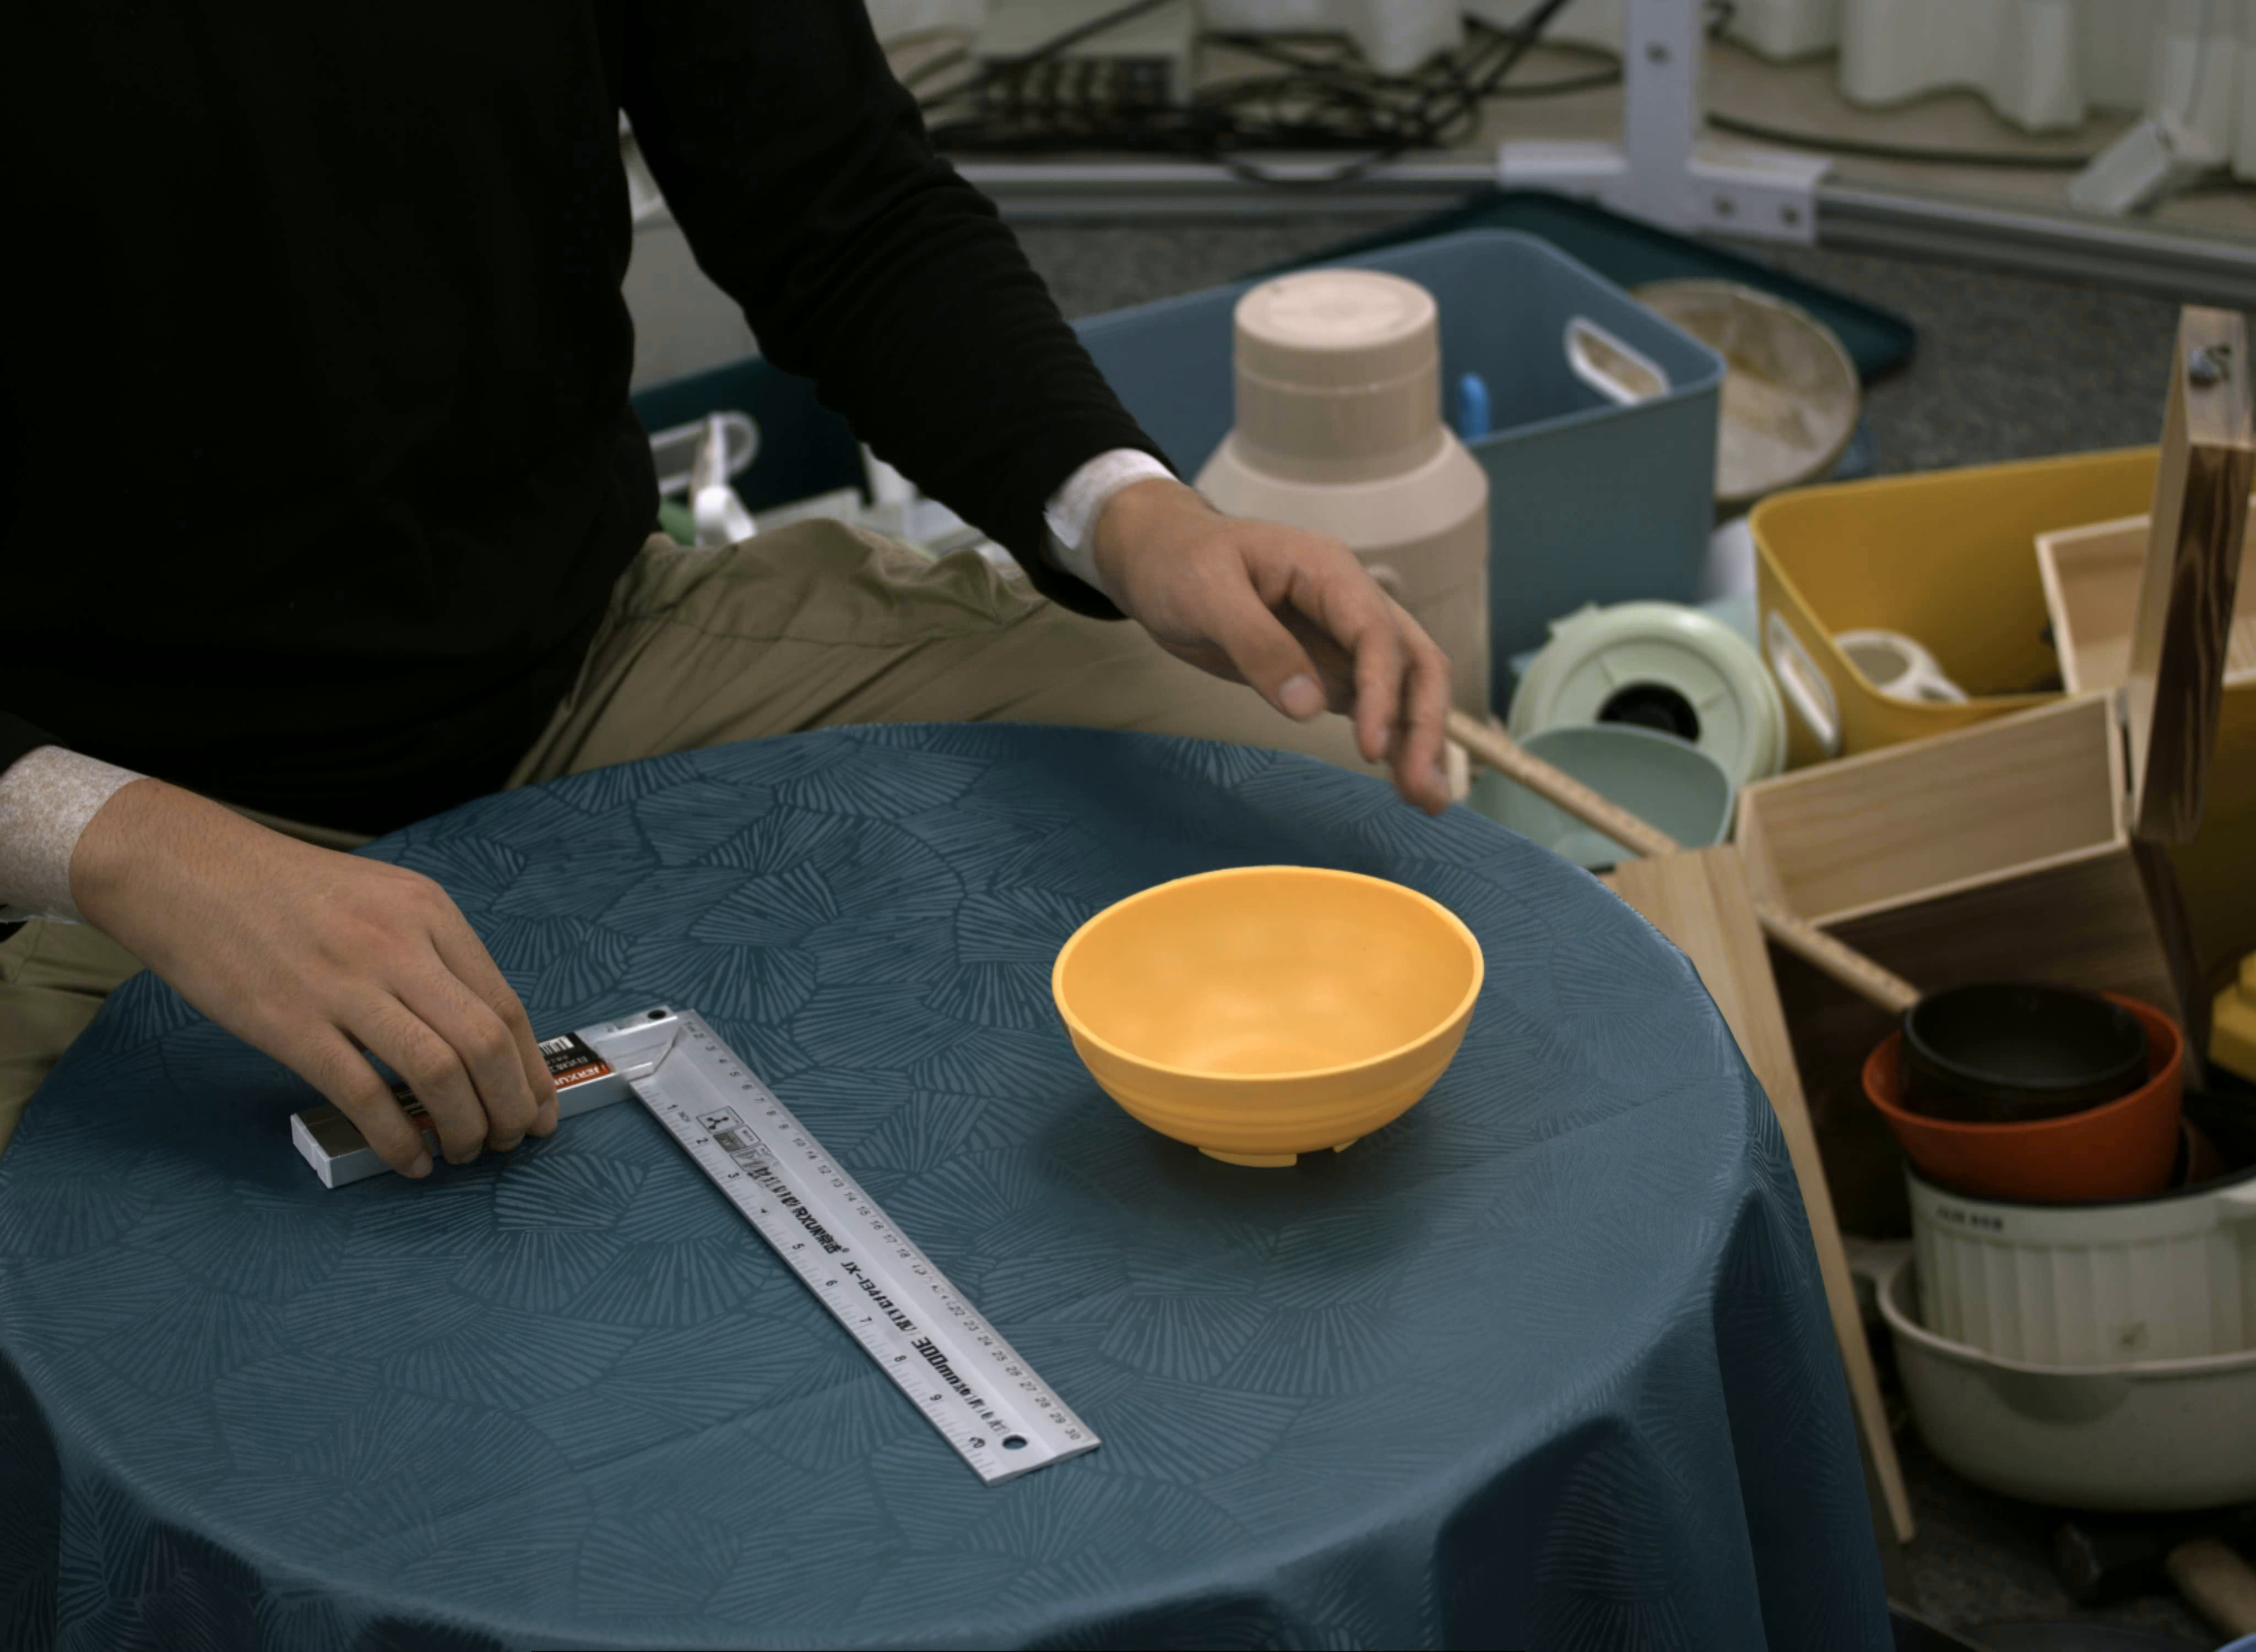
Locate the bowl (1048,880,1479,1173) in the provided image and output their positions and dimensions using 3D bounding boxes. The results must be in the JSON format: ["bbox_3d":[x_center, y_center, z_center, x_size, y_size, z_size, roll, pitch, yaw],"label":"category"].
[{"bbox_3d":[0.046,0.075,1.887,0.144,0.059,0.147,-1,24,1],"label":"bowl"}]

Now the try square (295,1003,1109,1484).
[{"bbox_3d":[-0.145,0.149,1.821,0.153,0.016,0.314,-19,32,-22],"label":"try square"}]
